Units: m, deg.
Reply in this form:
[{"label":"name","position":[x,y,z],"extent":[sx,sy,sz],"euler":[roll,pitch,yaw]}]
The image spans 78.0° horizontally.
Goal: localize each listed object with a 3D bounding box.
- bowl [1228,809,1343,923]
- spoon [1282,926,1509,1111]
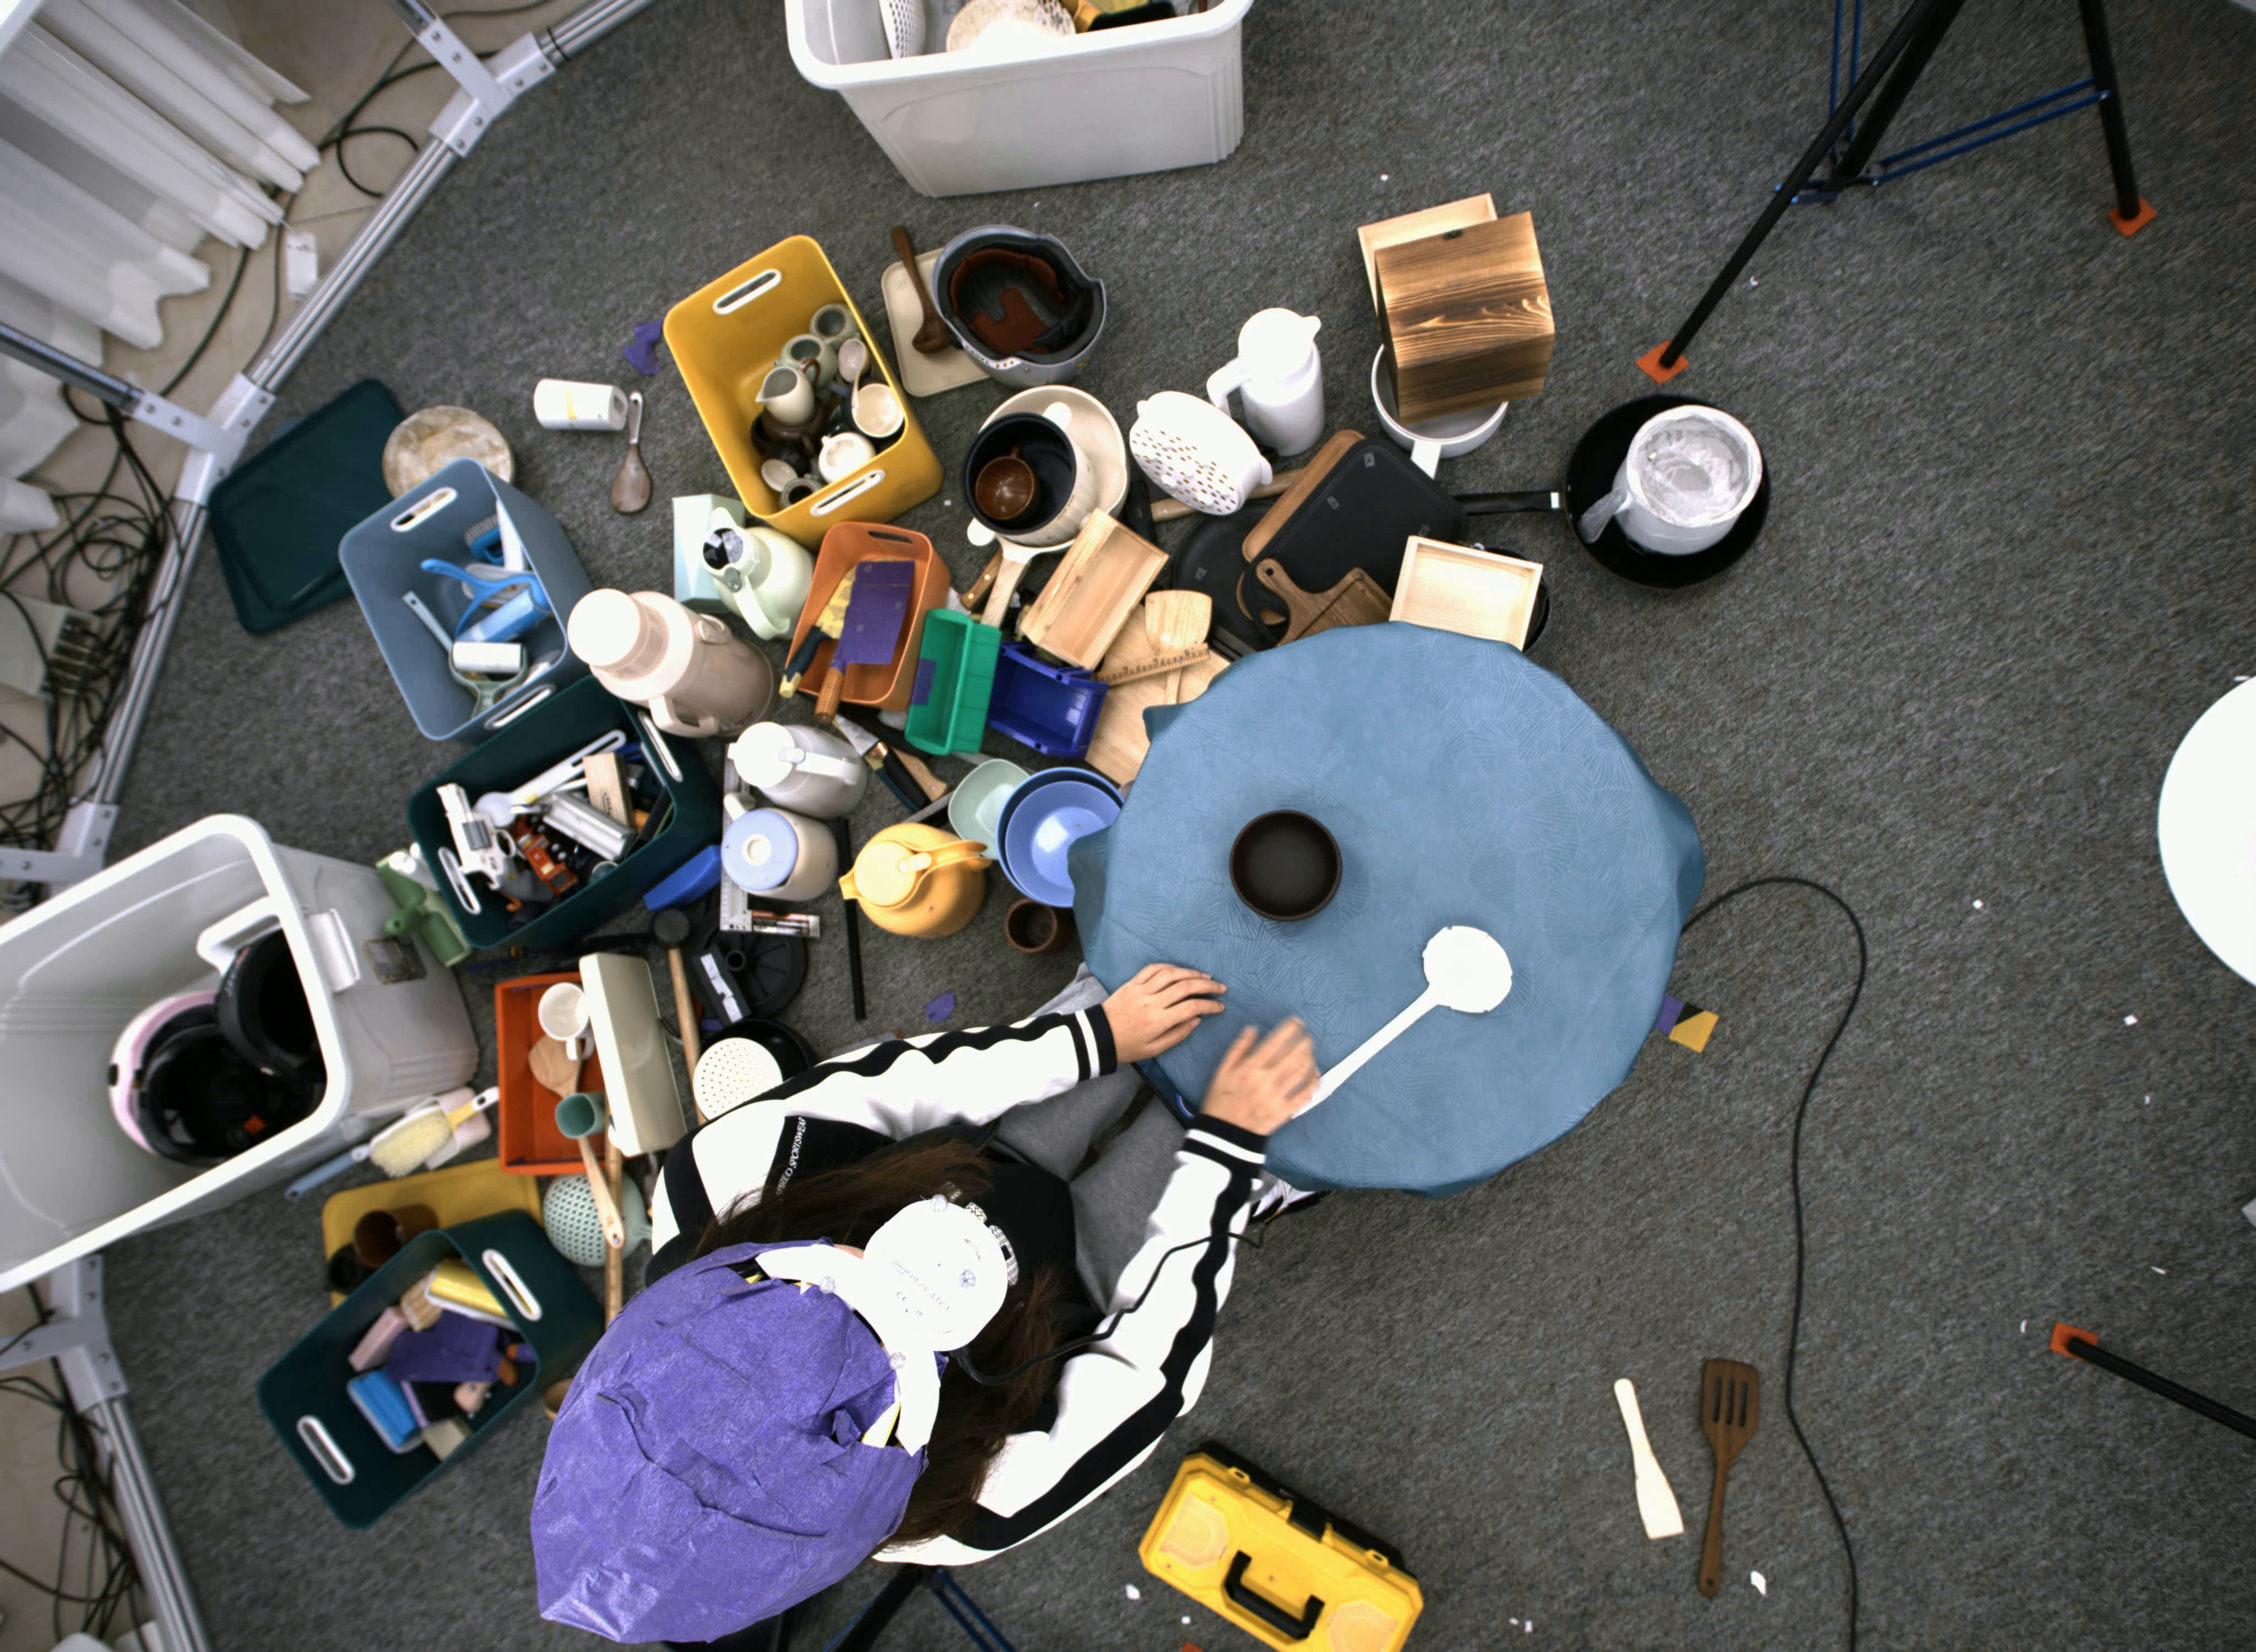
[{"label":"bowl","position":[0.165,0.043,1.444],"extent":[0.118,0.070,0.117],"euler":[-1,86,11]},{"label":"spoon","position":[0.266,0.204,1.424],"extent":[0.279,0.059,0.100],"euler":[-38,77,6]}]
